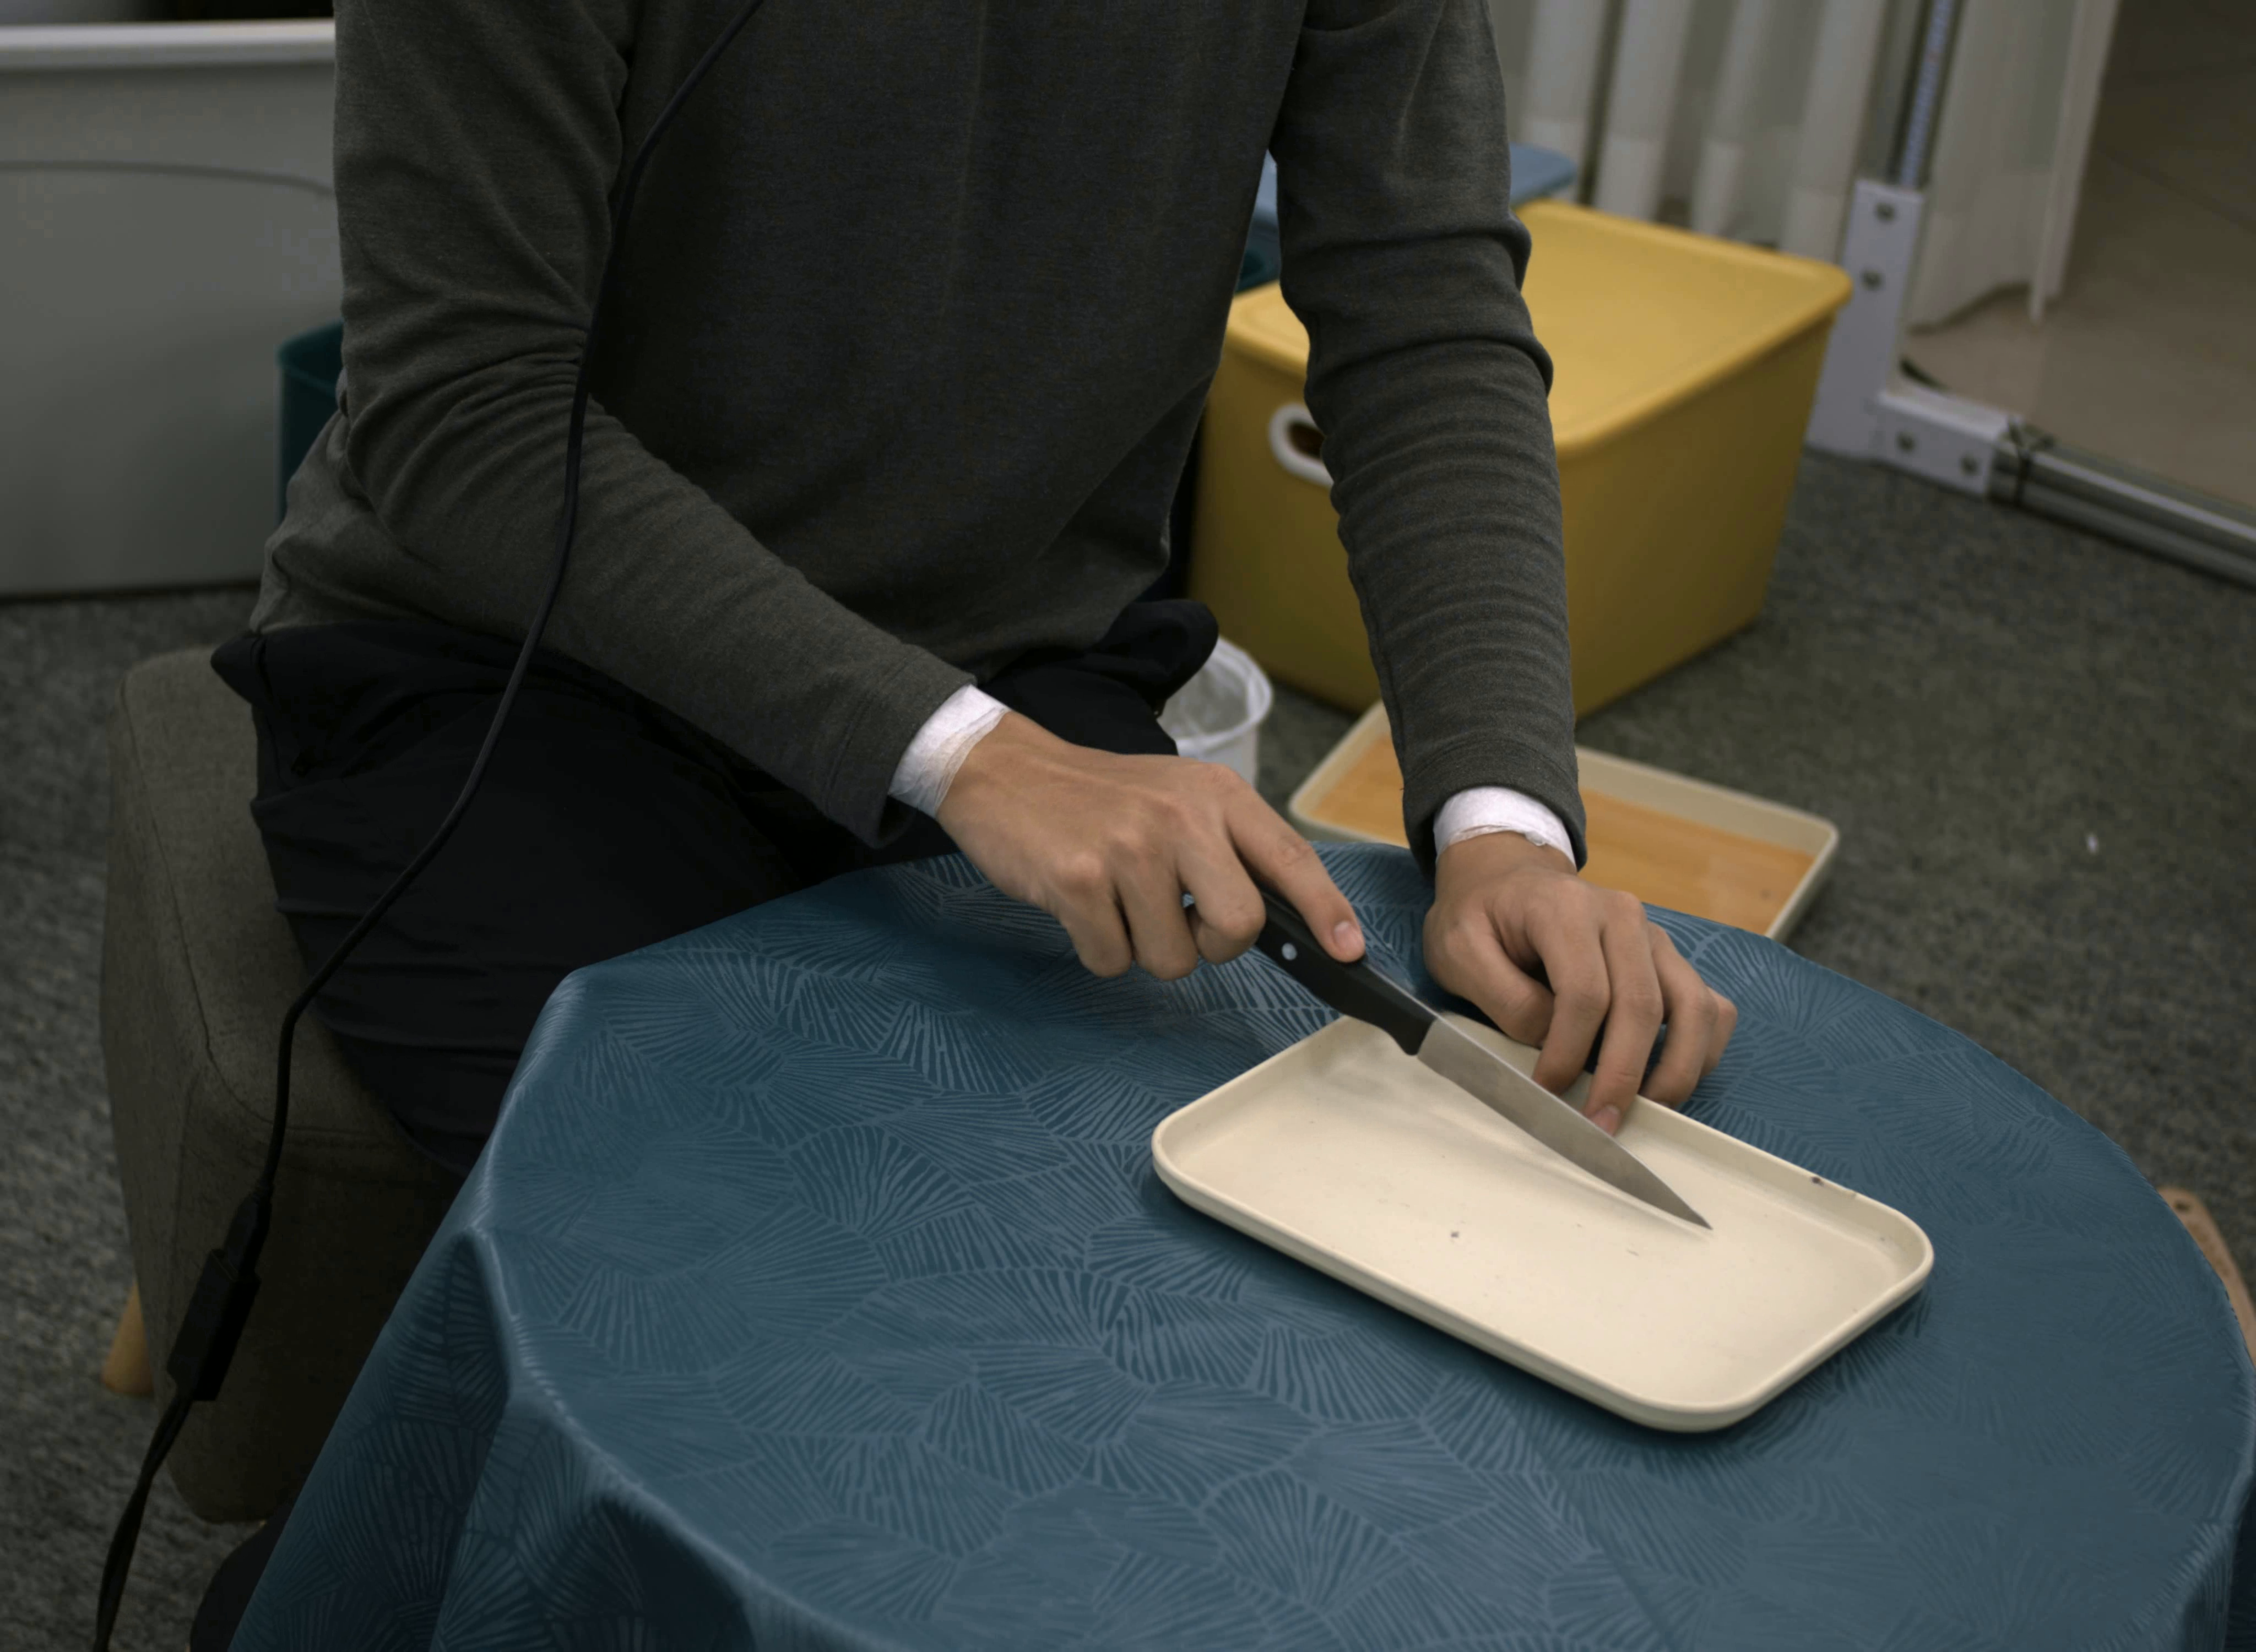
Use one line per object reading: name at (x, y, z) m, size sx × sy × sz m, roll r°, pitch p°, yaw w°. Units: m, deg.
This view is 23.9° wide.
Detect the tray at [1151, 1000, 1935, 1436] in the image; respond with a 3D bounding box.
tray at (0.139, 0.131, 1.803) m, size 0.241 × 0.017 × 0.170 m, roll 24°, pitch 32°, yaw 31°

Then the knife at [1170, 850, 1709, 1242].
knife at (0.109, 0.075, 1.857) m, size 0.239 × 0.024 × 0.016 m, roll 35°, pitch 33°, yaw 23°
